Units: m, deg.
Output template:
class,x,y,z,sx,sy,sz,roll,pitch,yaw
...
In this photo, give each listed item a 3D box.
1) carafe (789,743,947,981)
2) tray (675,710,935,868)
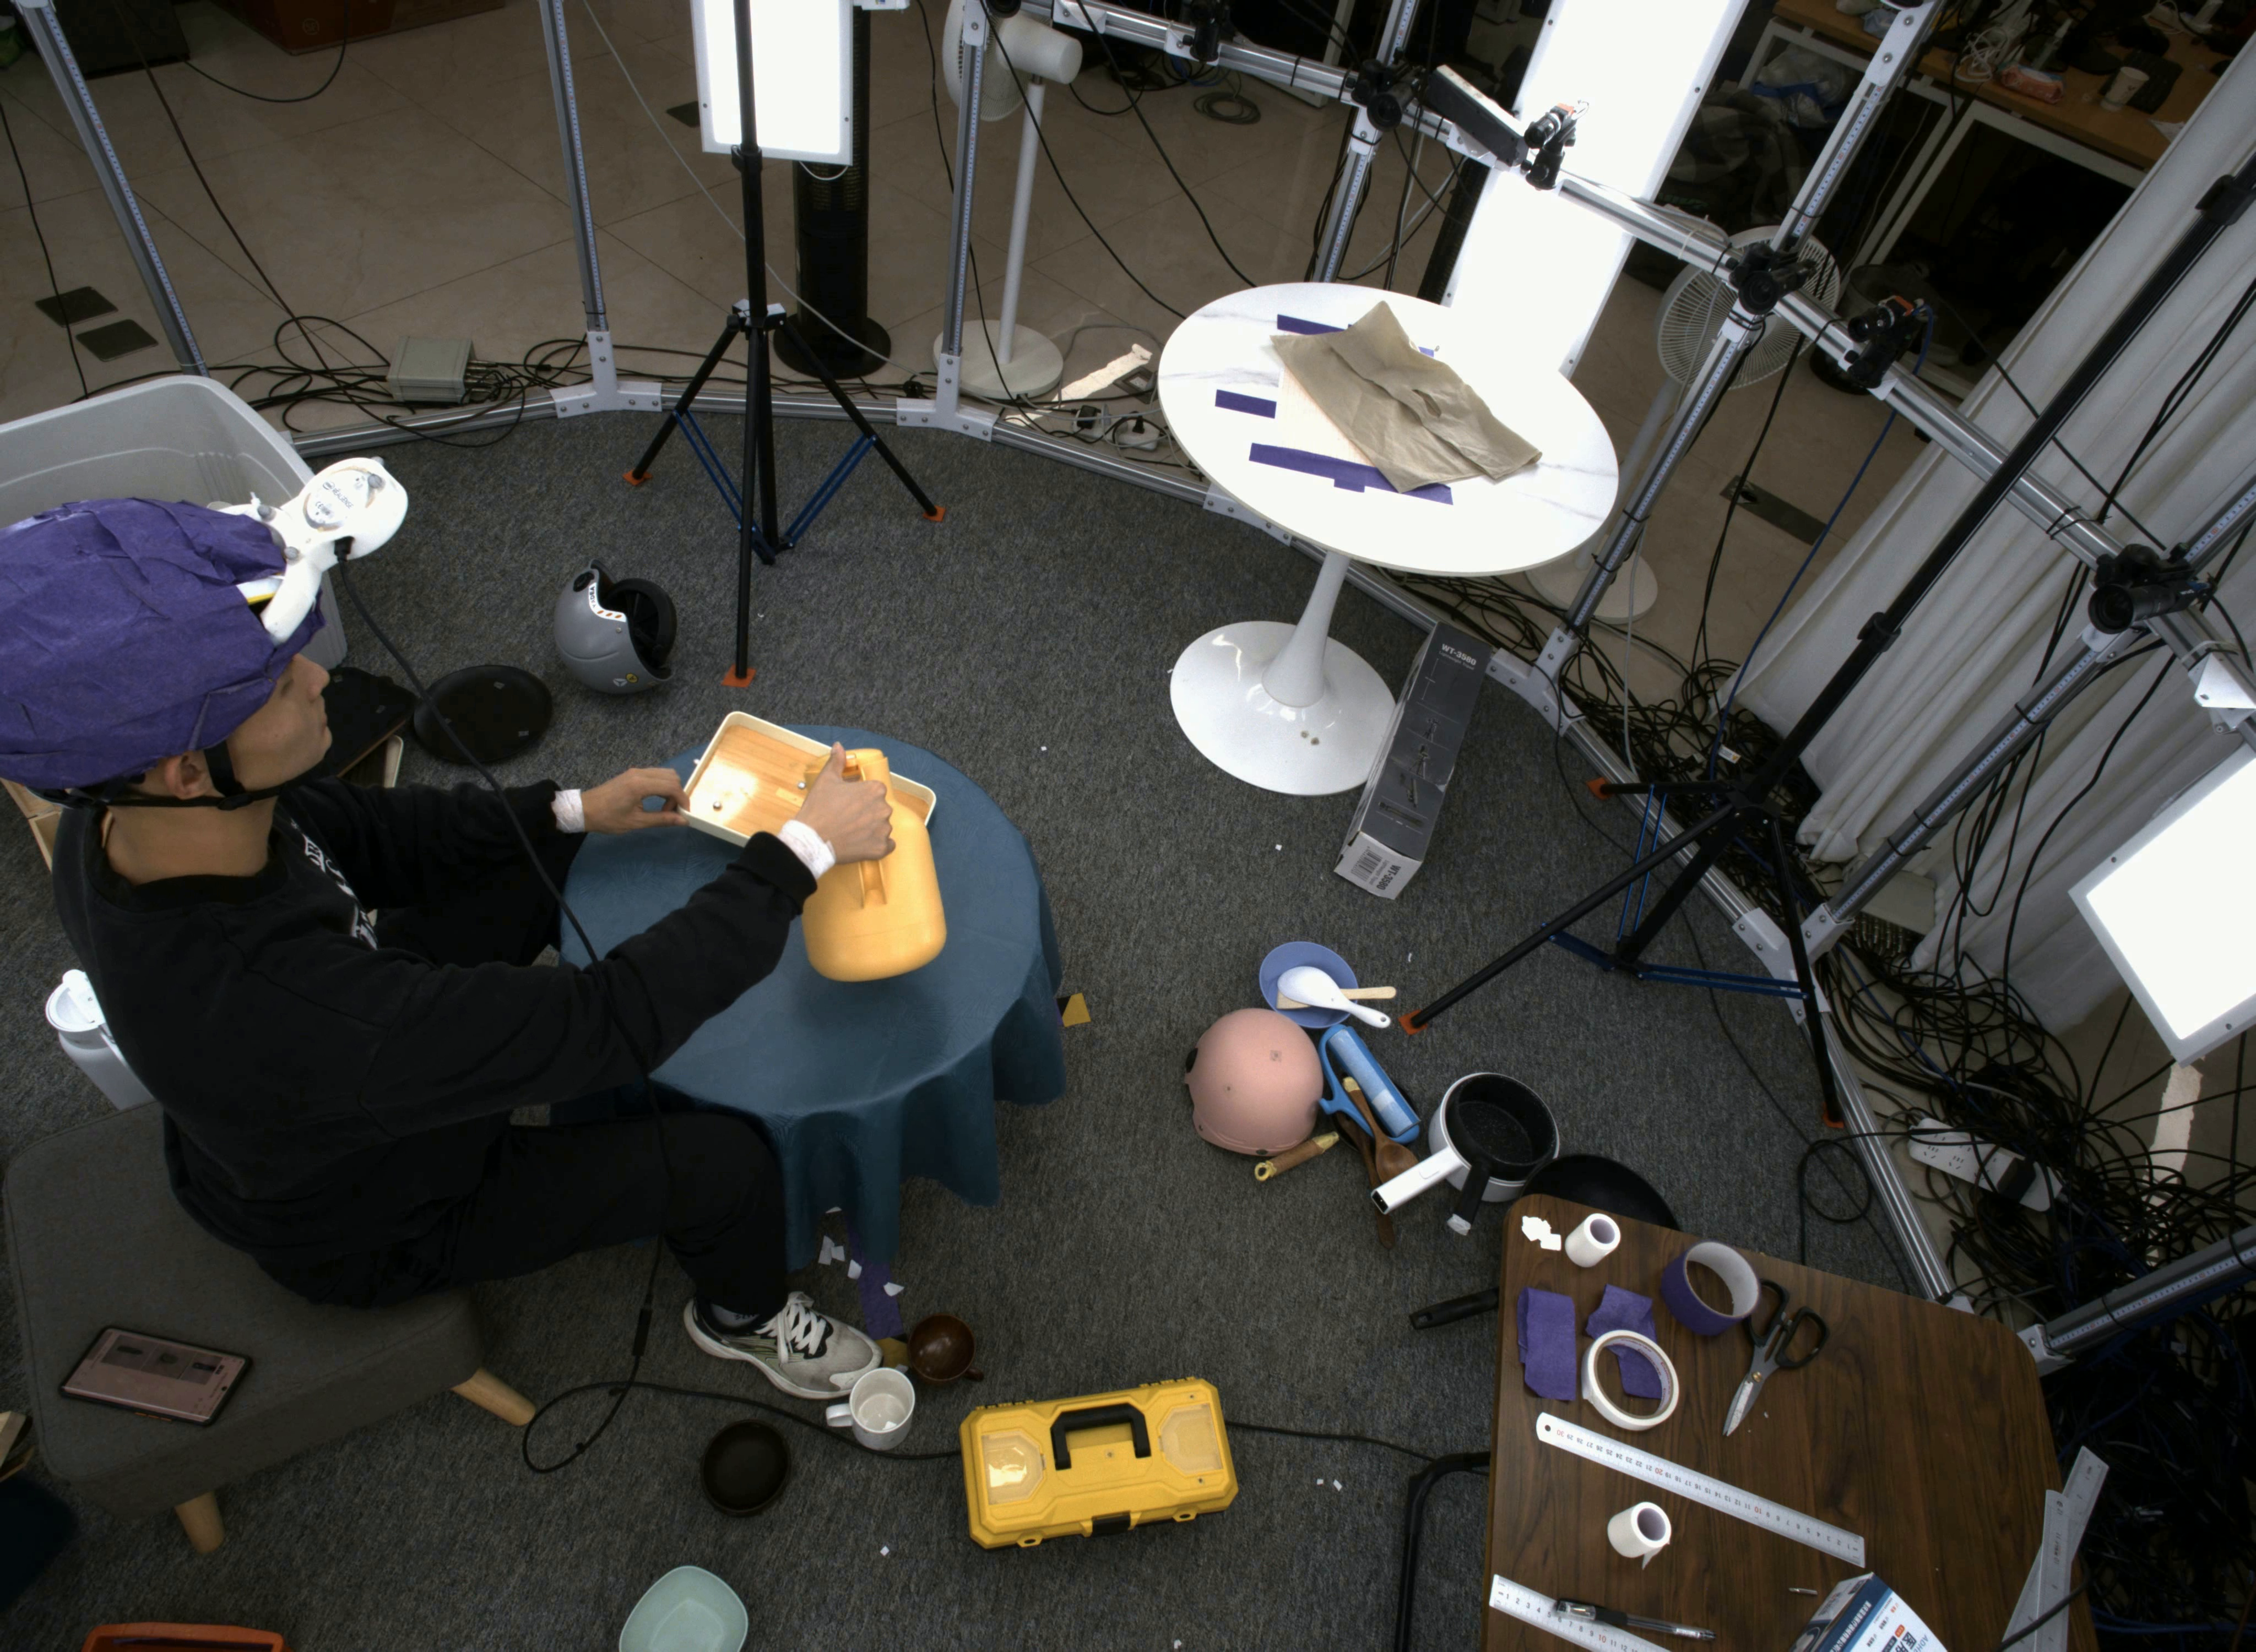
class,x,y,z,sx,sy,sz,roll,pitch,yaw
carafe,-0.305,0.039,1.482,0.163,0.198,0.266,-13,101,-12
tray,-0.416,-0.028,1.689,0.302,0.027,0.189,23,48,-11
